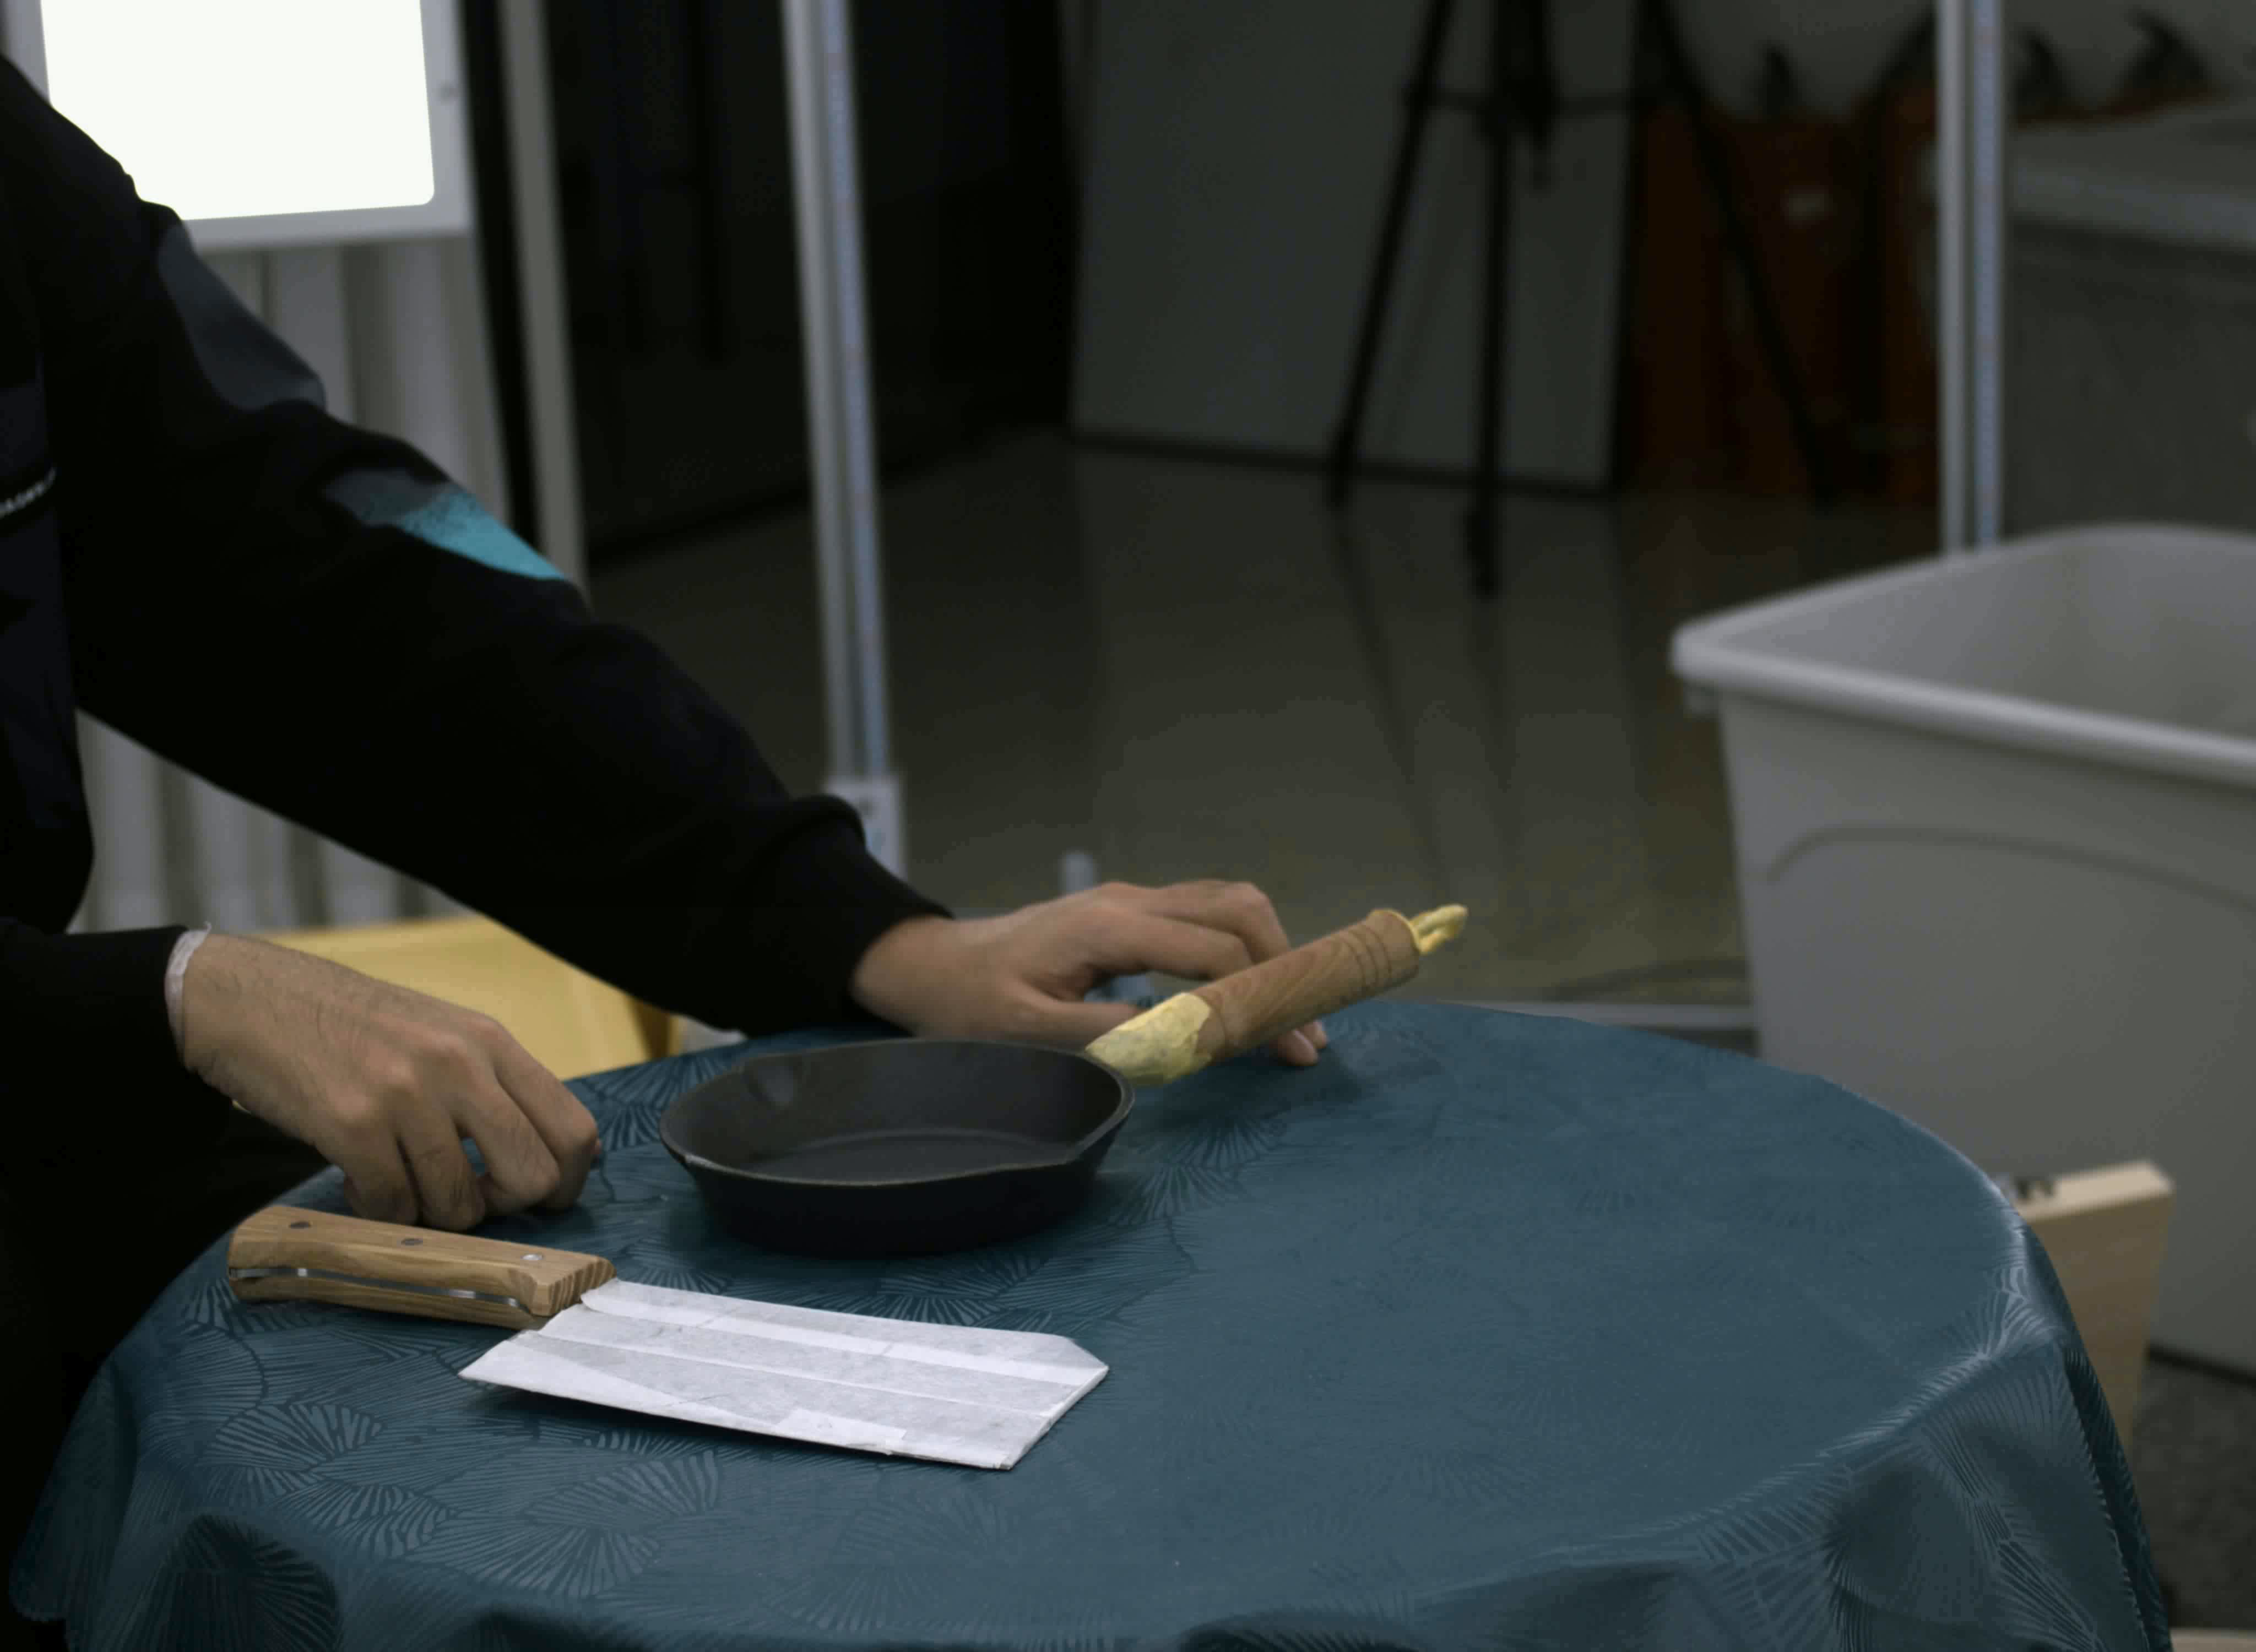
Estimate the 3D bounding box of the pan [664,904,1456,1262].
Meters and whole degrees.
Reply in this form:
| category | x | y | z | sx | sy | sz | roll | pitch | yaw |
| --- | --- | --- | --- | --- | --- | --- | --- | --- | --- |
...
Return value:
| category | x | y | z | sx | sy | sz | roll | pitch | yaw |
| --- | --- | --- | --- | --- | --- | --- | --- | --- | --- |
| pan | -0.008 | 0.084 | 1.819 | 0.317 | 0.050 | 0.171 | -16 | 17 | -34 |

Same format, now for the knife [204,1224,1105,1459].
| category | x | y | z | sx | sy | sz | roll | pitch | yaw |
| --- | --- | --- | --- | --- | --- | --- | --- | --- | --- |
| knife | -0.149 | 0.155 | 1.642 | 0.316 | 0.022 | 0.112 | 7 | 17 | 29 |
